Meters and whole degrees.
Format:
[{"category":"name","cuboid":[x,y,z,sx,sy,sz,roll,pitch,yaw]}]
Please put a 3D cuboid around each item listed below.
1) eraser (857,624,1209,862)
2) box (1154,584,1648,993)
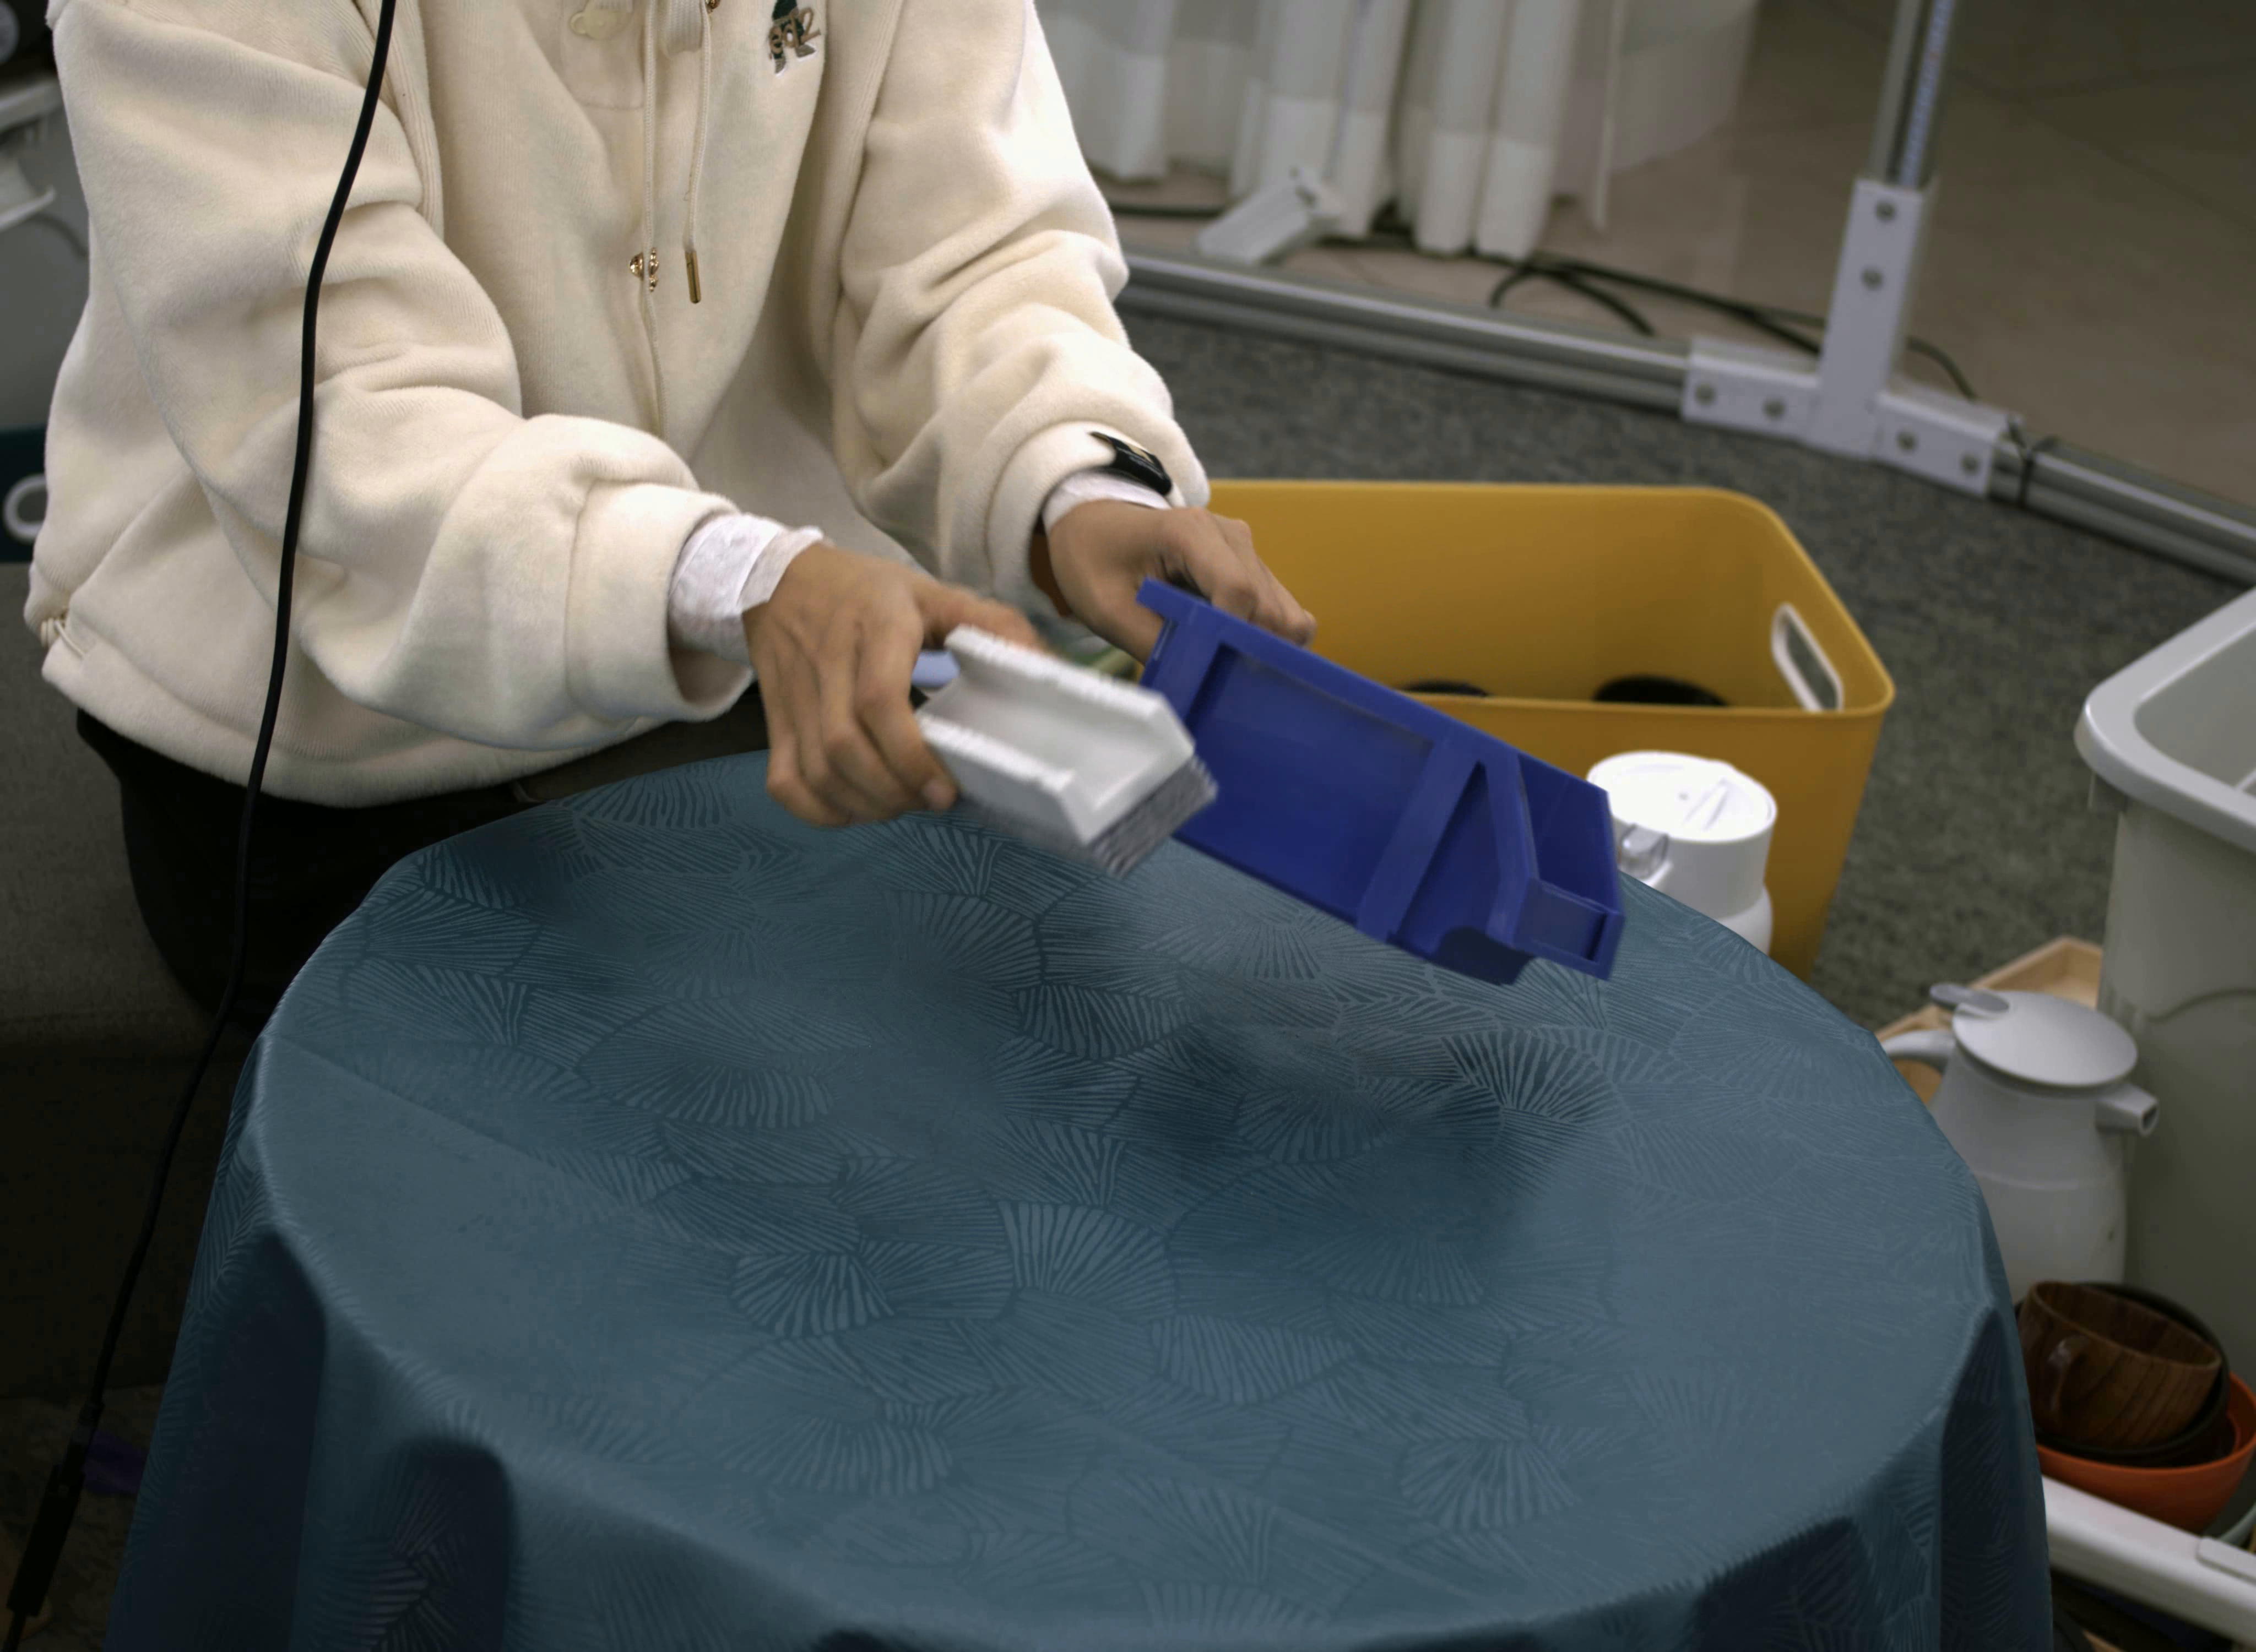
[{"category":"eraser","cuboid":[-0.031,-0.028,1.761,0.050,0.046,0.135,-45,30,-17]},{"category":"box","cuboid":[0.093,-0.006,1.876,0.180,0.082,0.123,24,0,24]}]
